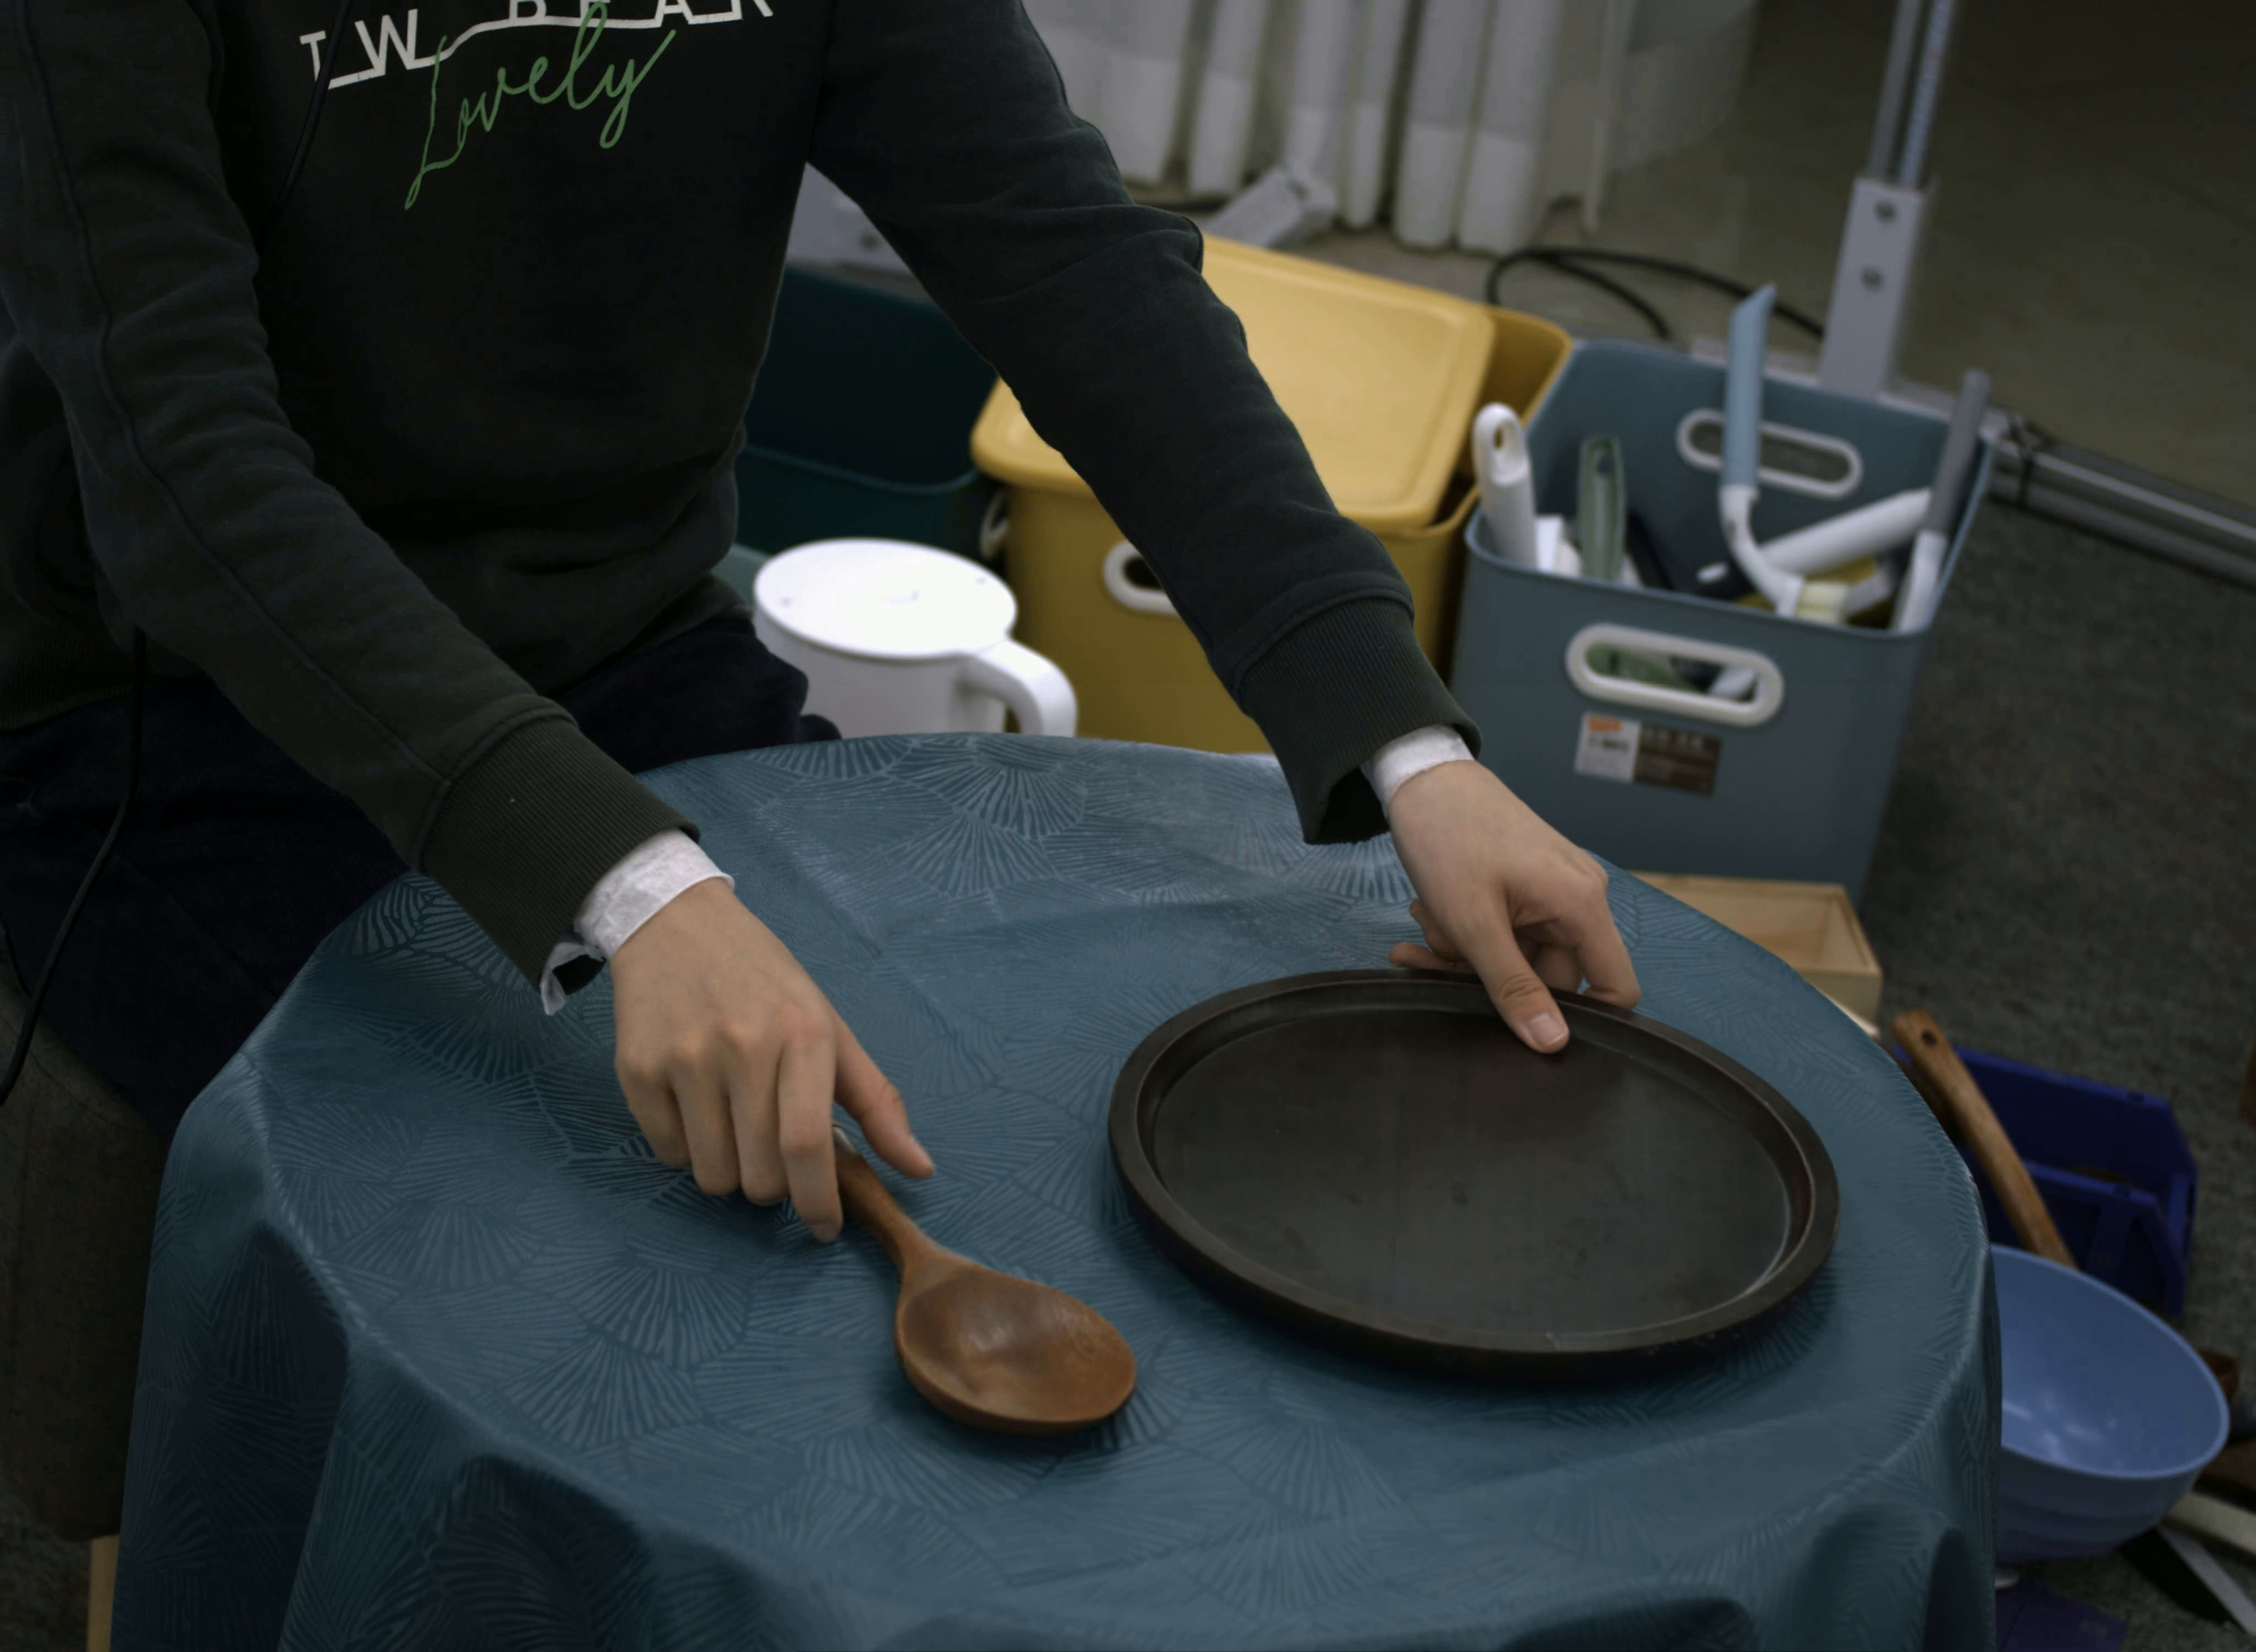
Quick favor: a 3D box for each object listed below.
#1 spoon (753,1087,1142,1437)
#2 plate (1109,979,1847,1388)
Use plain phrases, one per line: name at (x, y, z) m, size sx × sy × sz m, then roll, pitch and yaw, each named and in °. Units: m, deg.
spoon at (-0.067, 0.142, 1.730) m, size 0.075 × 0.017 × 0.218 m, roll -9°, pitch 31°, yaw -28°
plate at (0.118, 0.119, 1.812) m, size 0.254 × 0.029 × 0.256 m, roll 6°, pitch 27°, yaw -3°
